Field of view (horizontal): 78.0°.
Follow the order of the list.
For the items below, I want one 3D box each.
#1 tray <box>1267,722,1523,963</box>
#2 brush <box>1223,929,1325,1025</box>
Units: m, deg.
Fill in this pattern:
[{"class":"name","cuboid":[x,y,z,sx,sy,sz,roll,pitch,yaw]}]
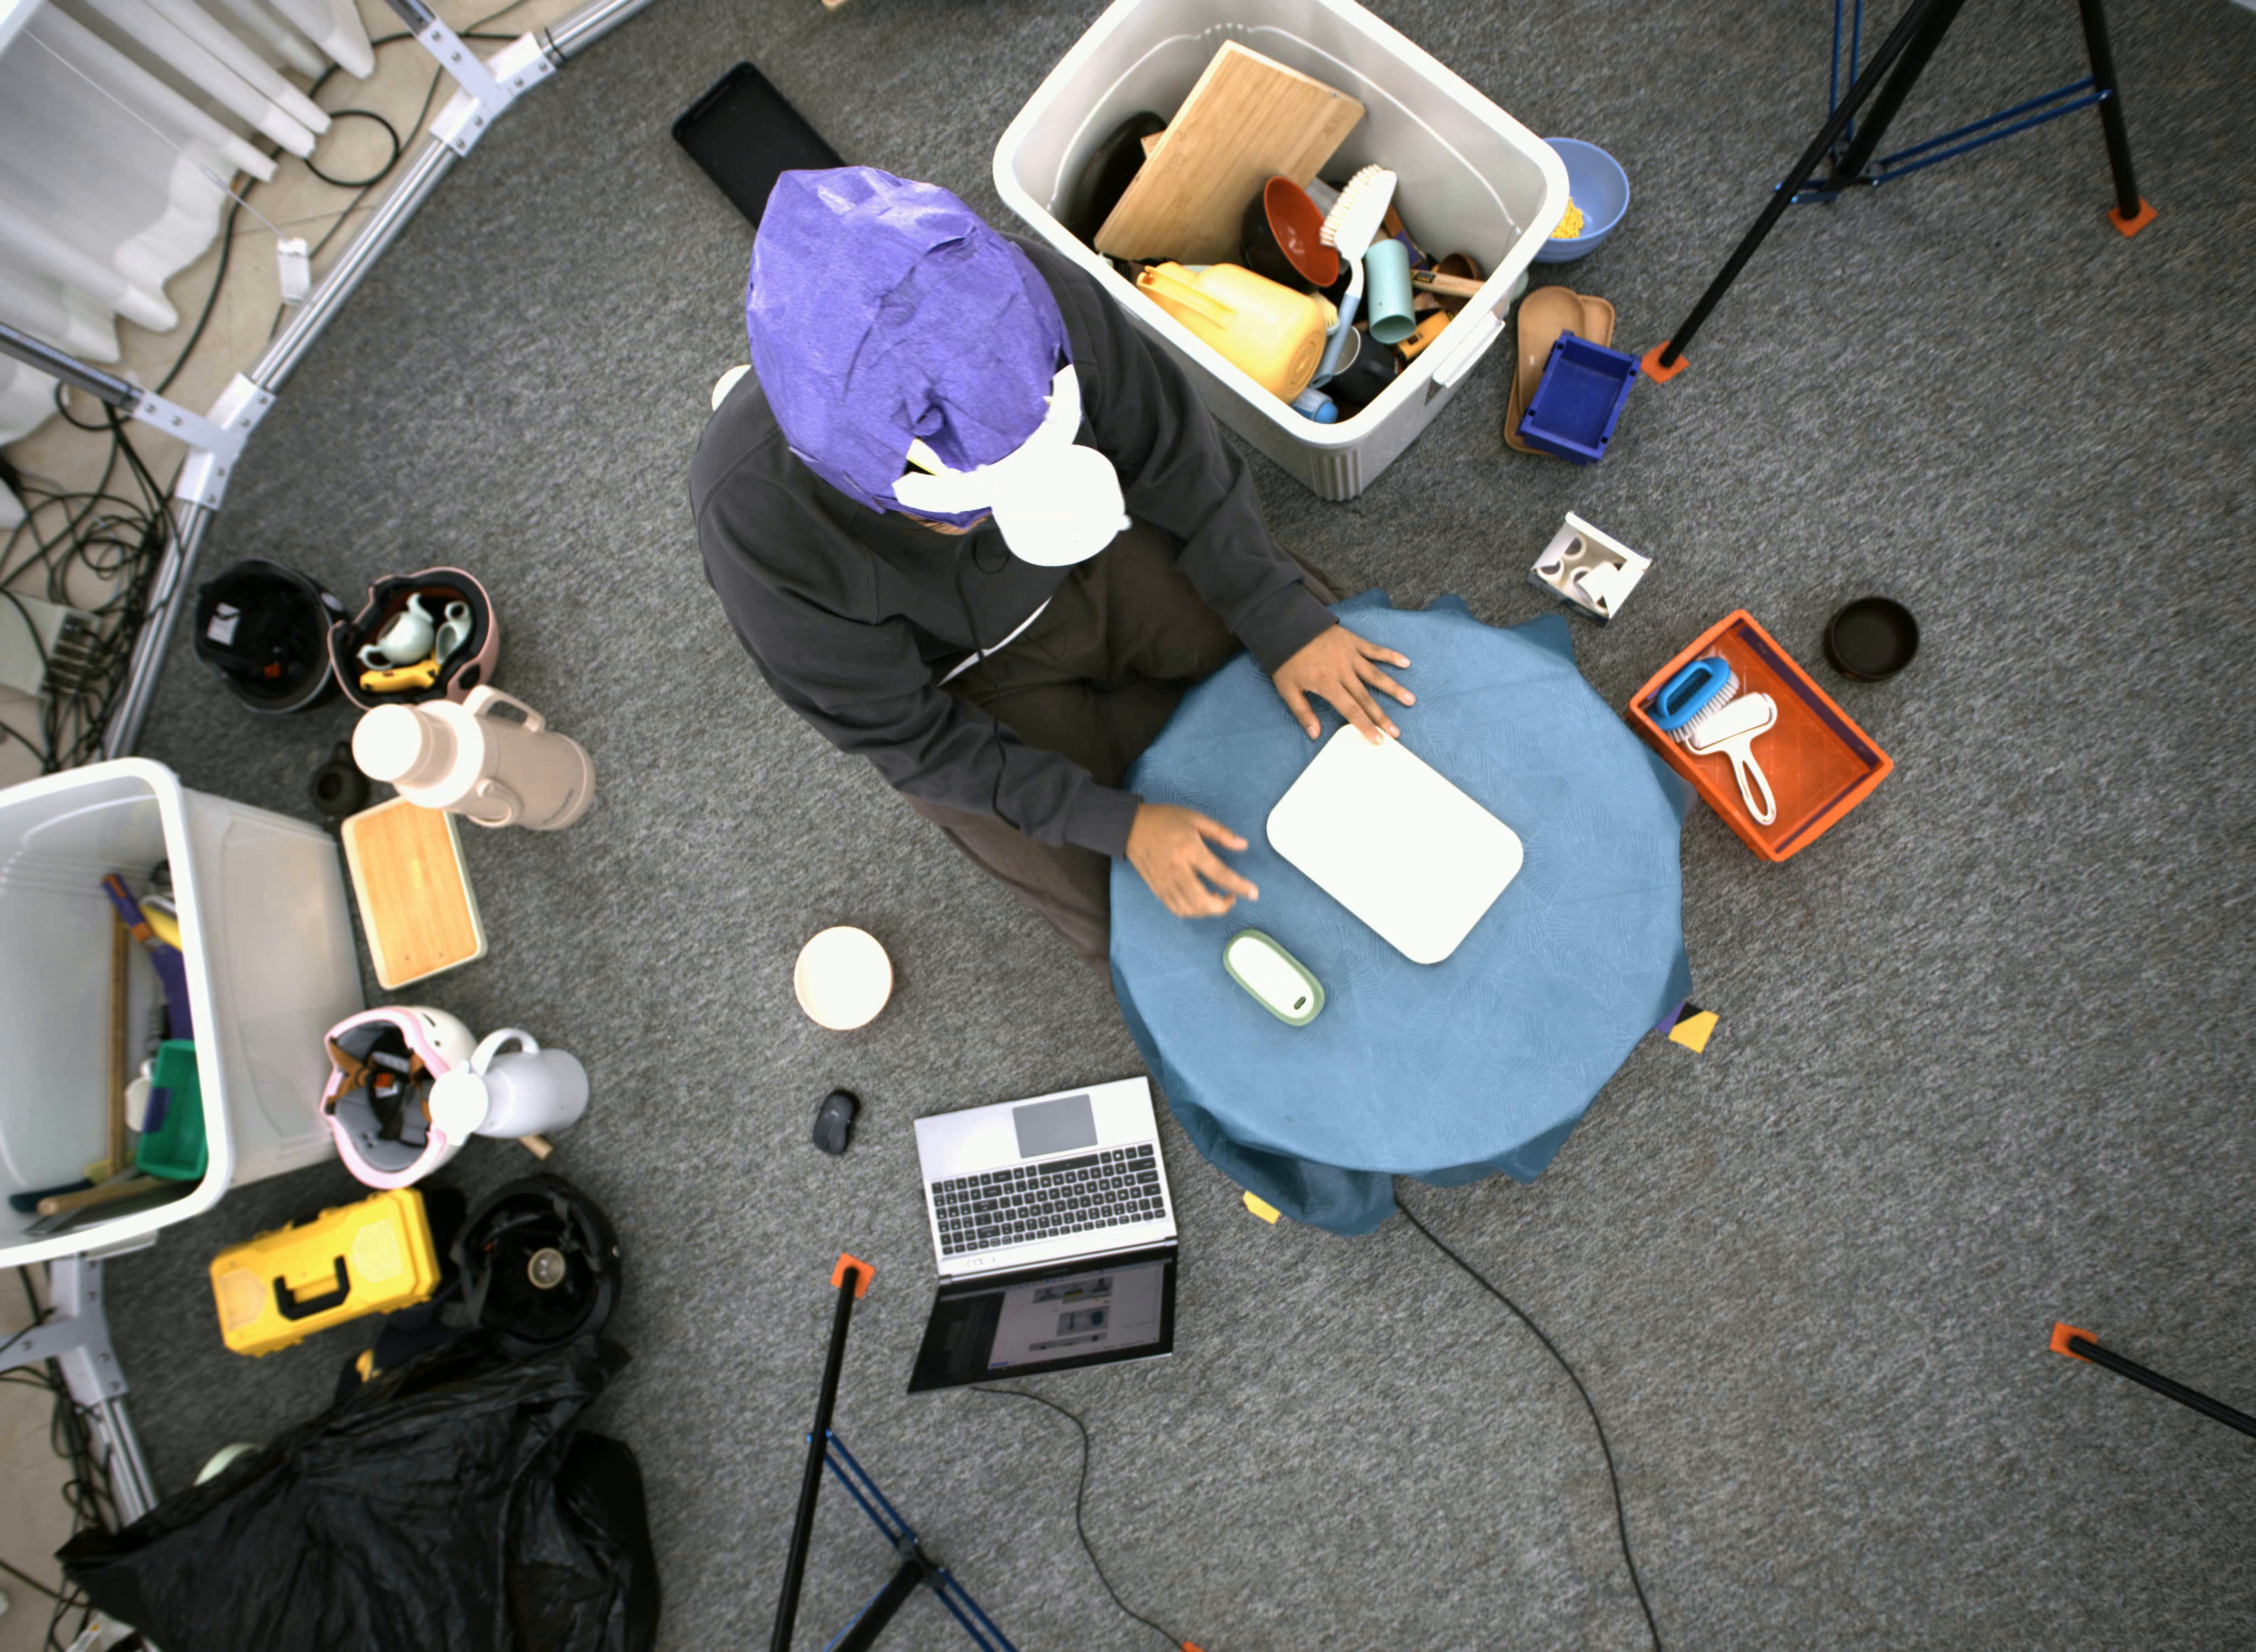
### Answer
[{"class":"tray","cuboid":[0.279,0.015,1.453,0.239,0.017,0.172,40,94,11]},{"class":"brush","cuboid":[0.153,0.159,1.451,0.122,0.076,0.060,41,92,25]}]
